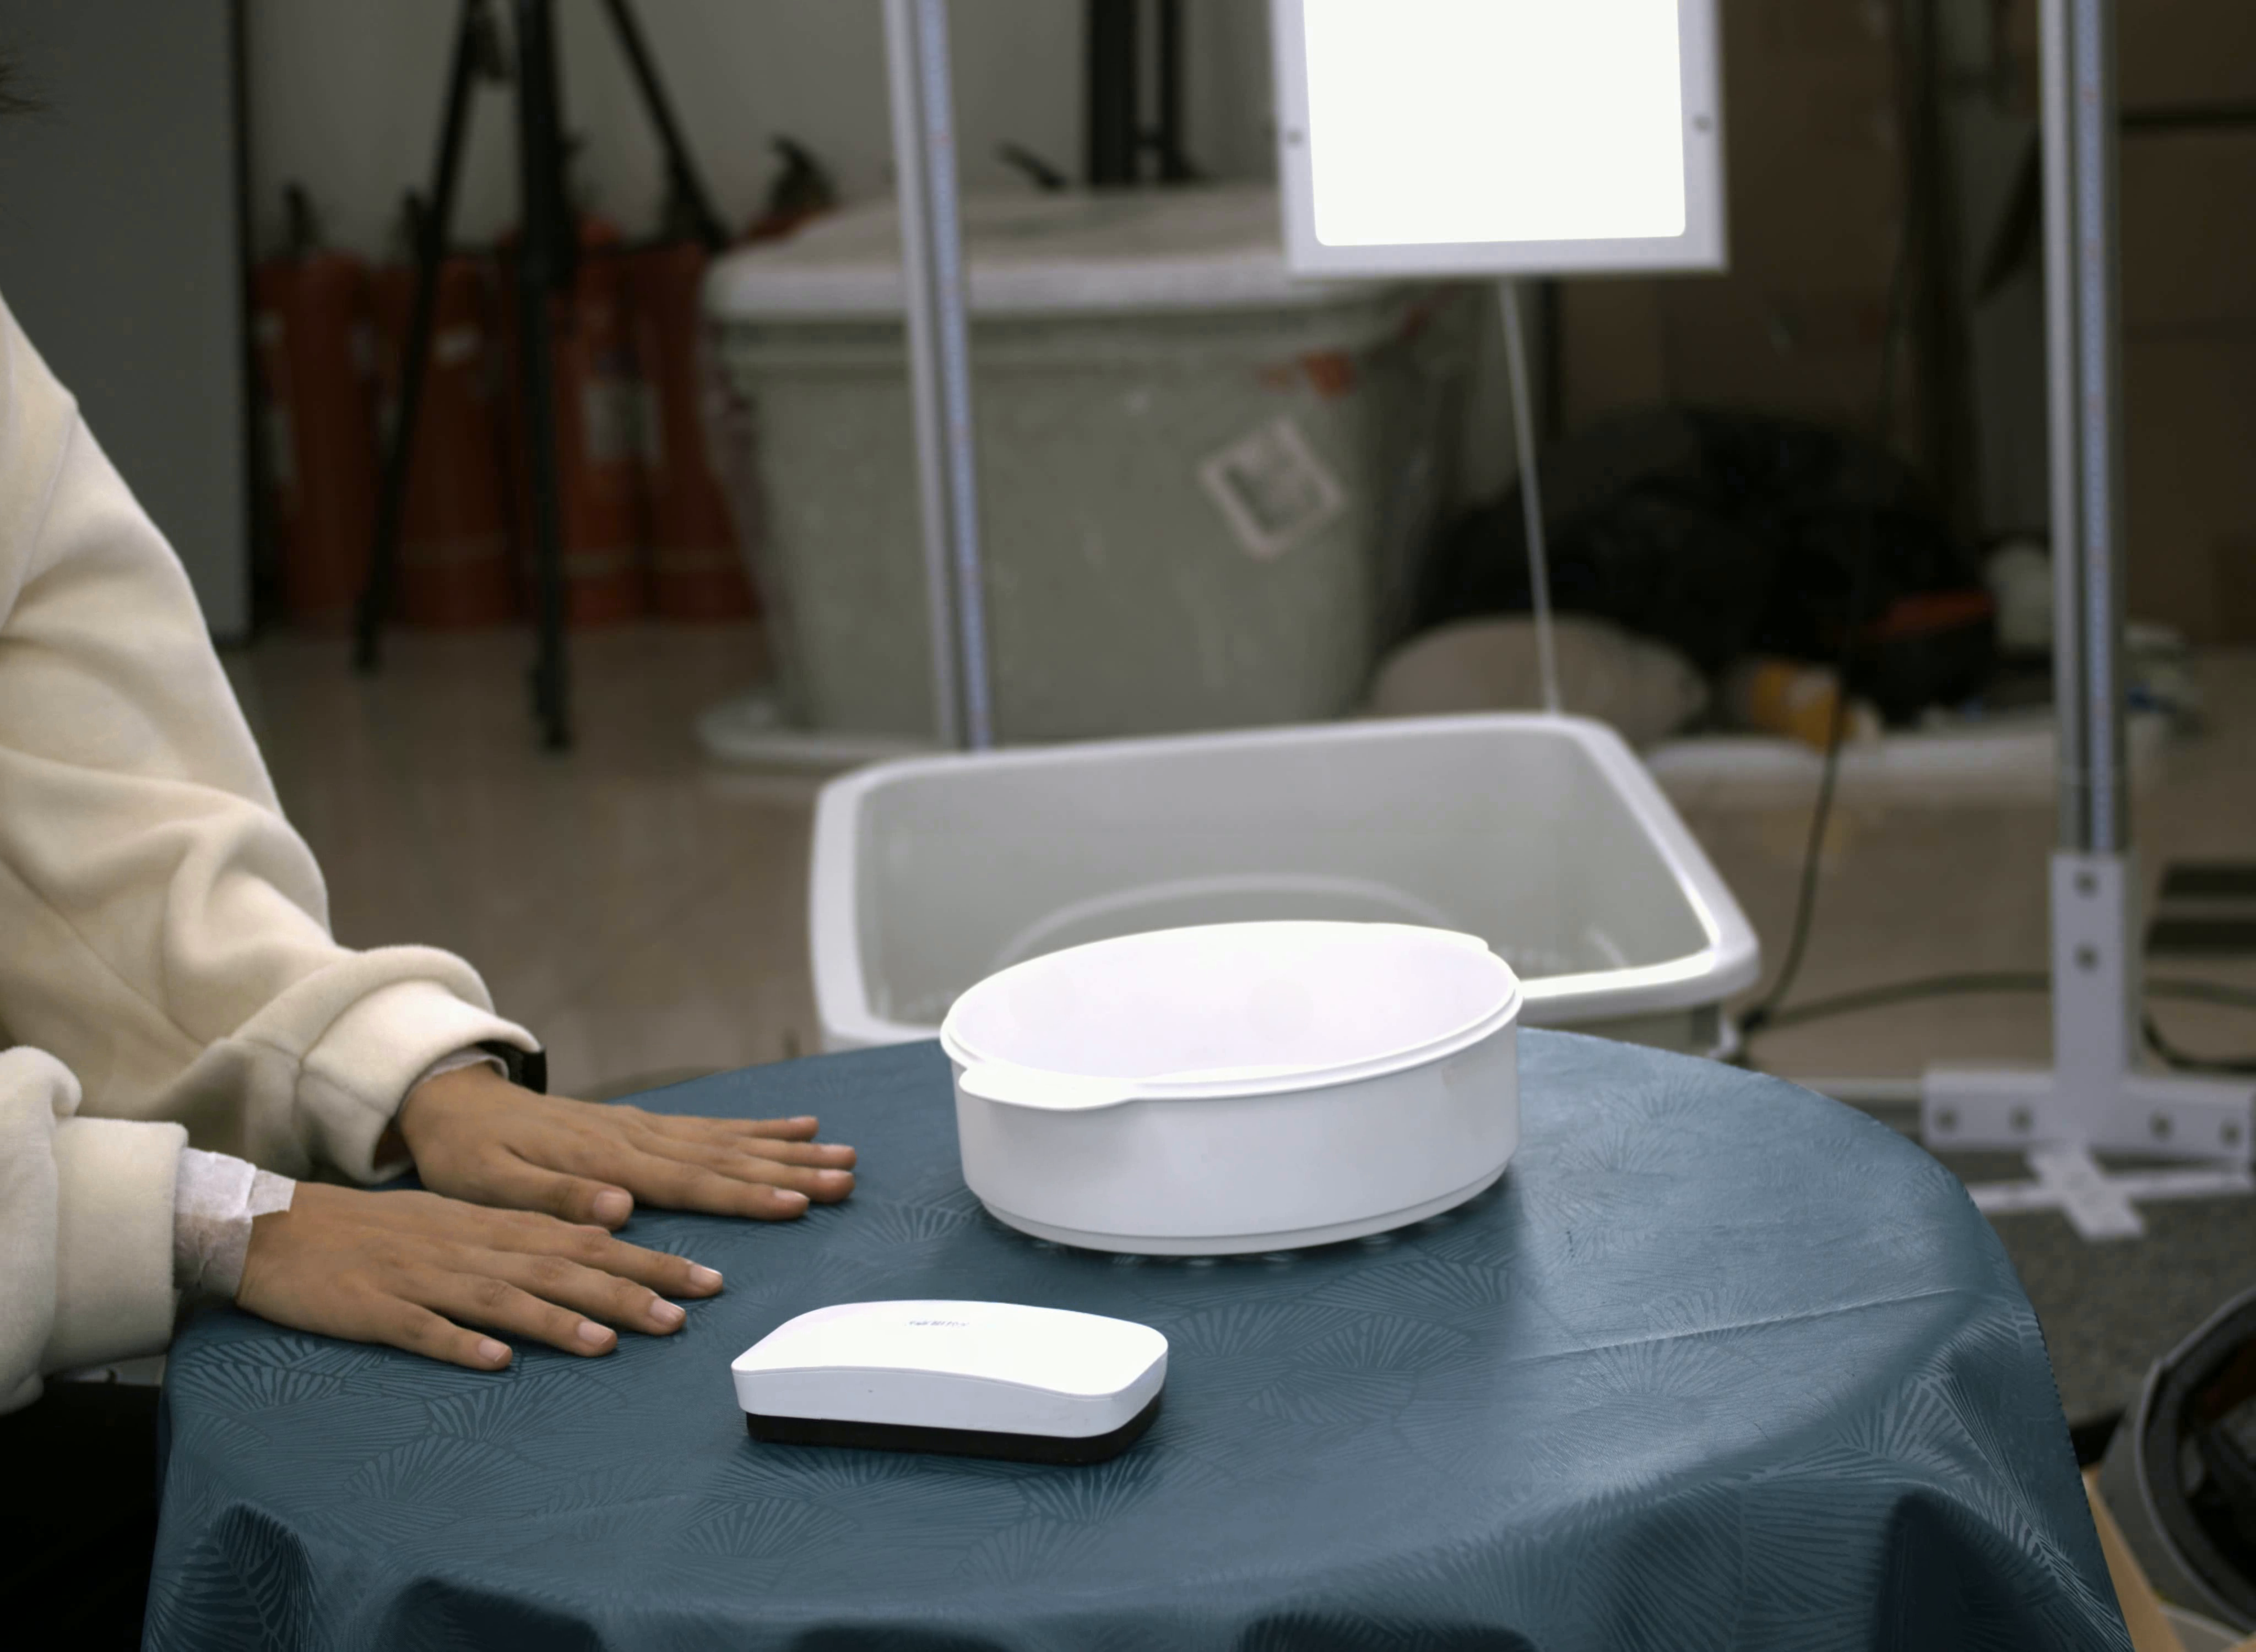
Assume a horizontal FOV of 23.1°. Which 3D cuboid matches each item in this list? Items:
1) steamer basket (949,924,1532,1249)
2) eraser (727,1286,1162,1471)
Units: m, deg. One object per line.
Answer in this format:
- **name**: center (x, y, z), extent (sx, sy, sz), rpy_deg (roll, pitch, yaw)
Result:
- **steamer basket**: center (0.041, 0.090, 1.892), extent (0.206, 0.069, 0.225), rpy_deg (7, 17, 42)
- **eraser**: center (-0.055, 0.168, 1.684), extent (0.133, 0.034, 0.062), rpy_deg (3, 16, 26)
